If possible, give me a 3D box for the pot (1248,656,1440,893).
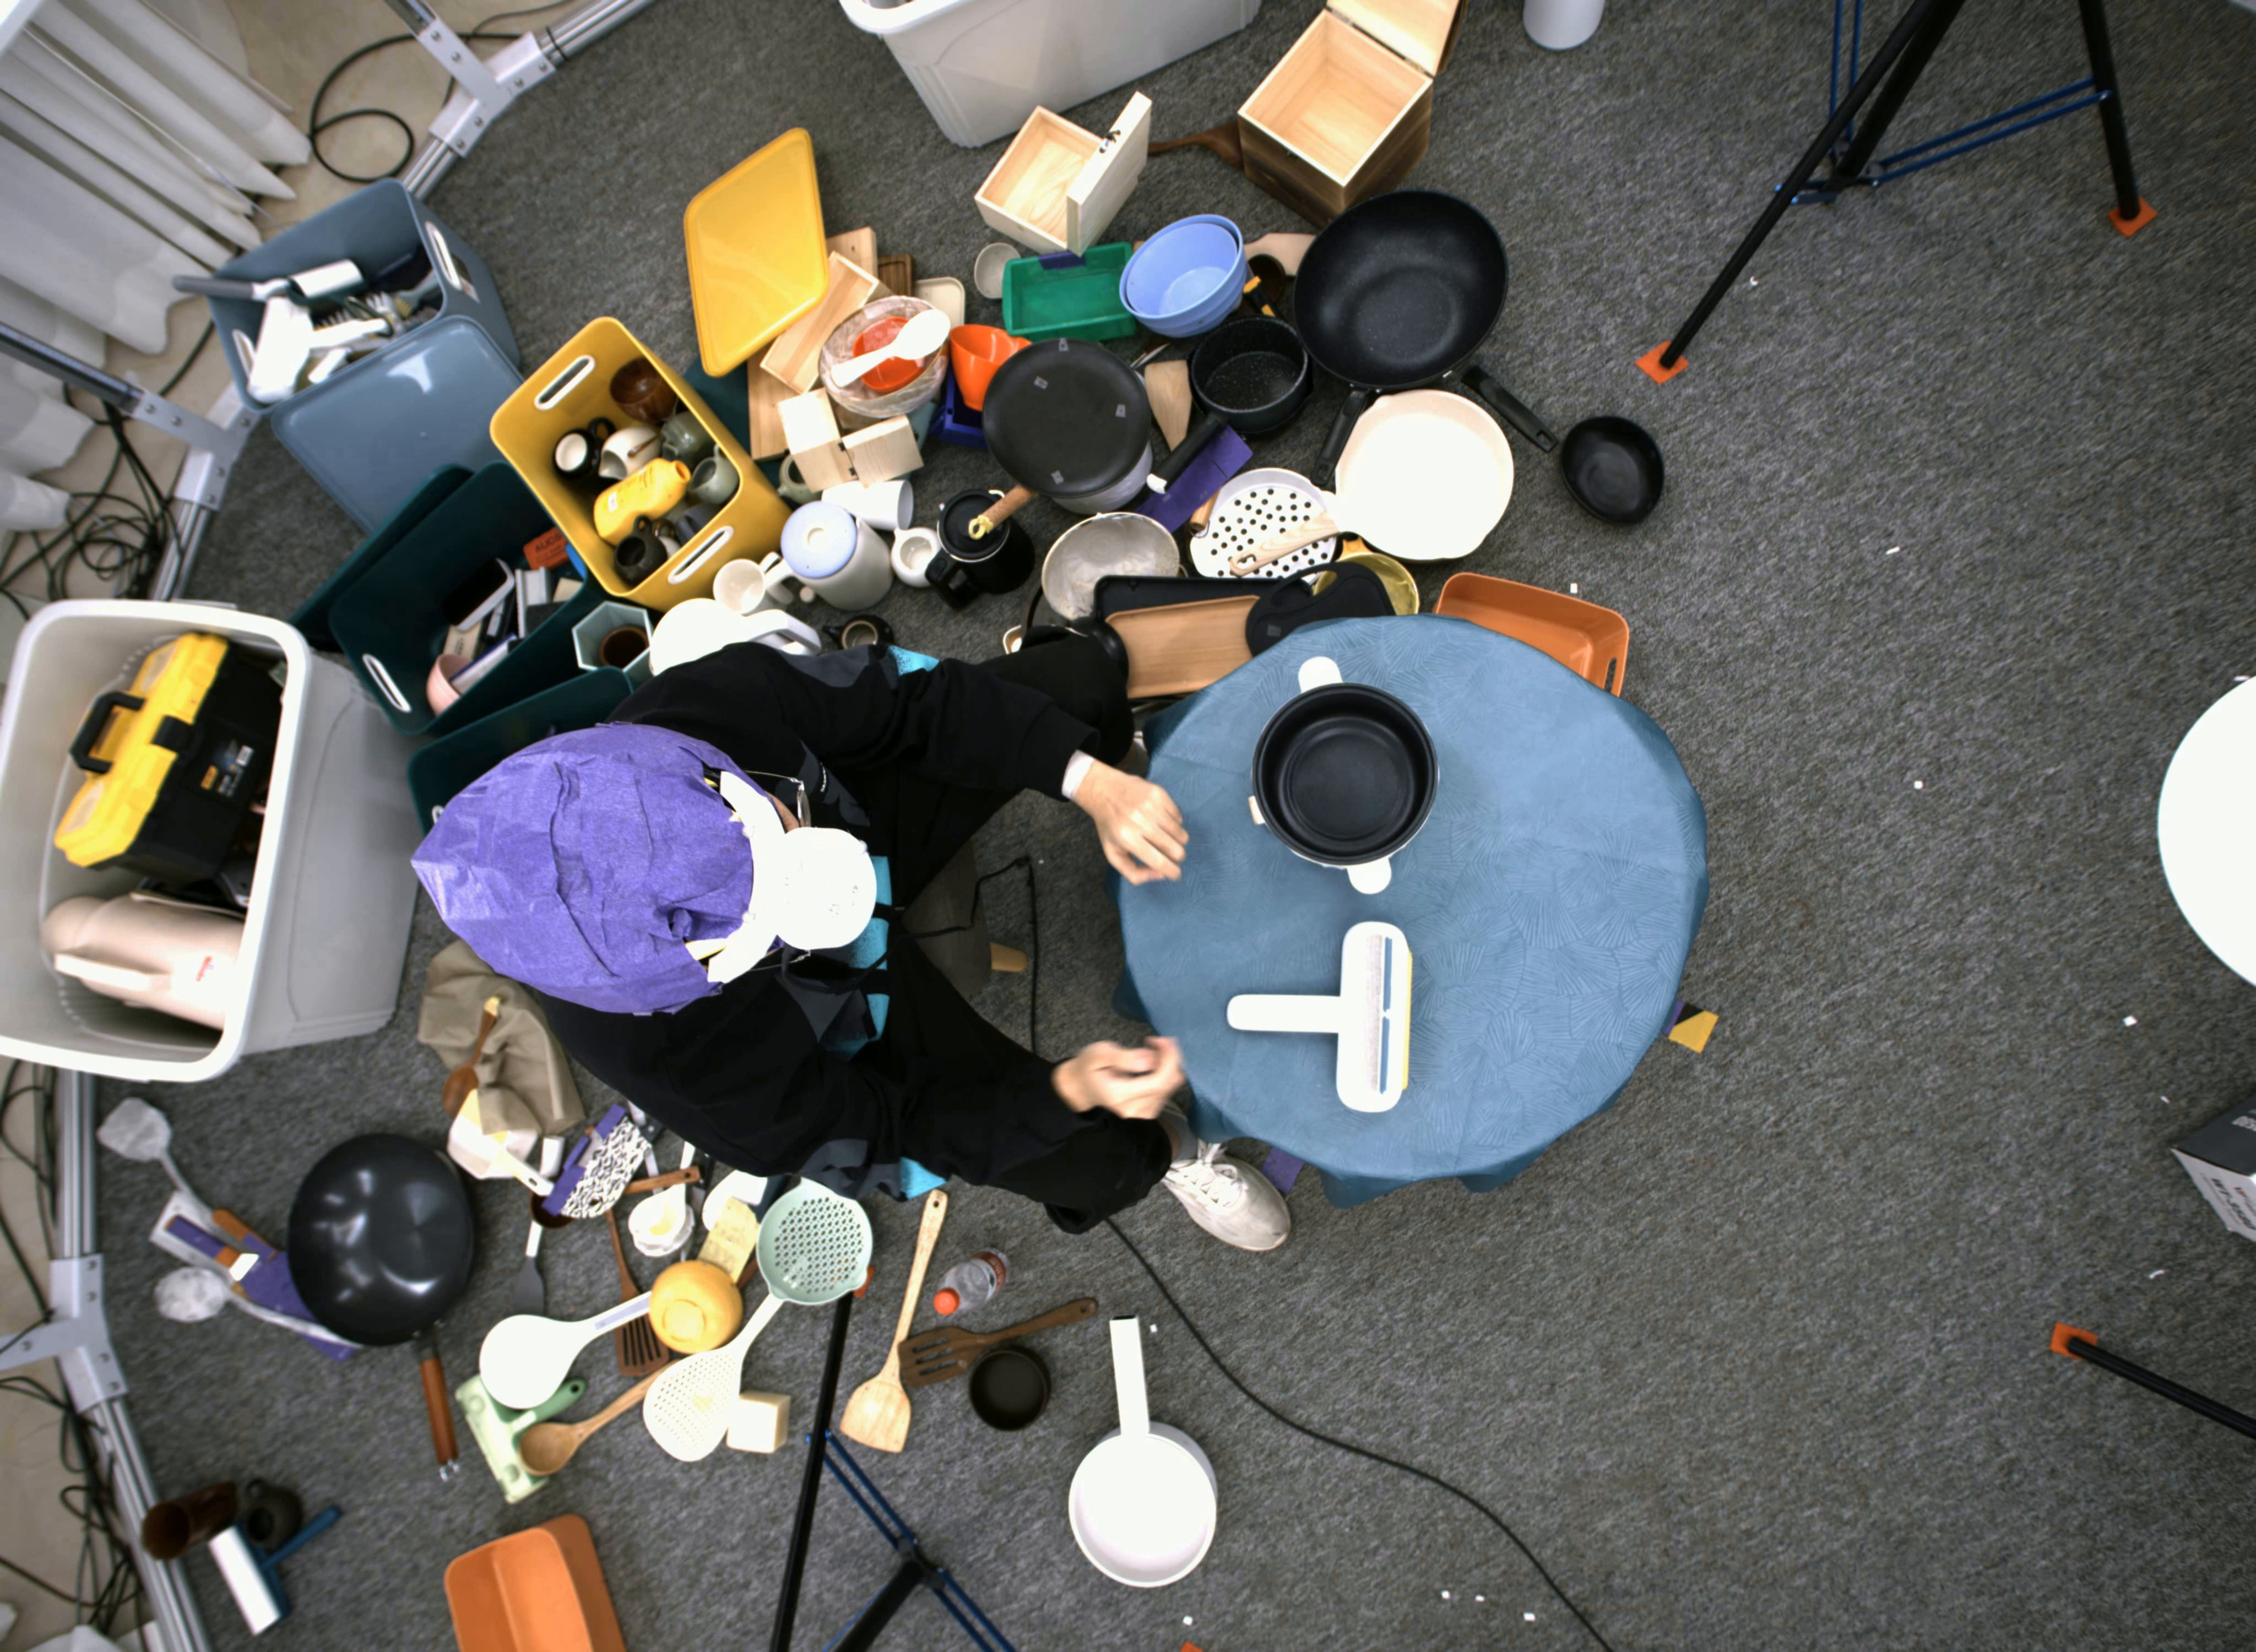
[{"bbox_3d":[0.216,-0.043,1.400,0.191,0.143,0.239,-15,83,6],"label":"pot"}]

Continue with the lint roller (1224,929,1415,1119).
[{"bbox_3d":[0.192,0.196,1.429,0.193,0.074,0.191,6,83,12],"label":"lint roller"}]
